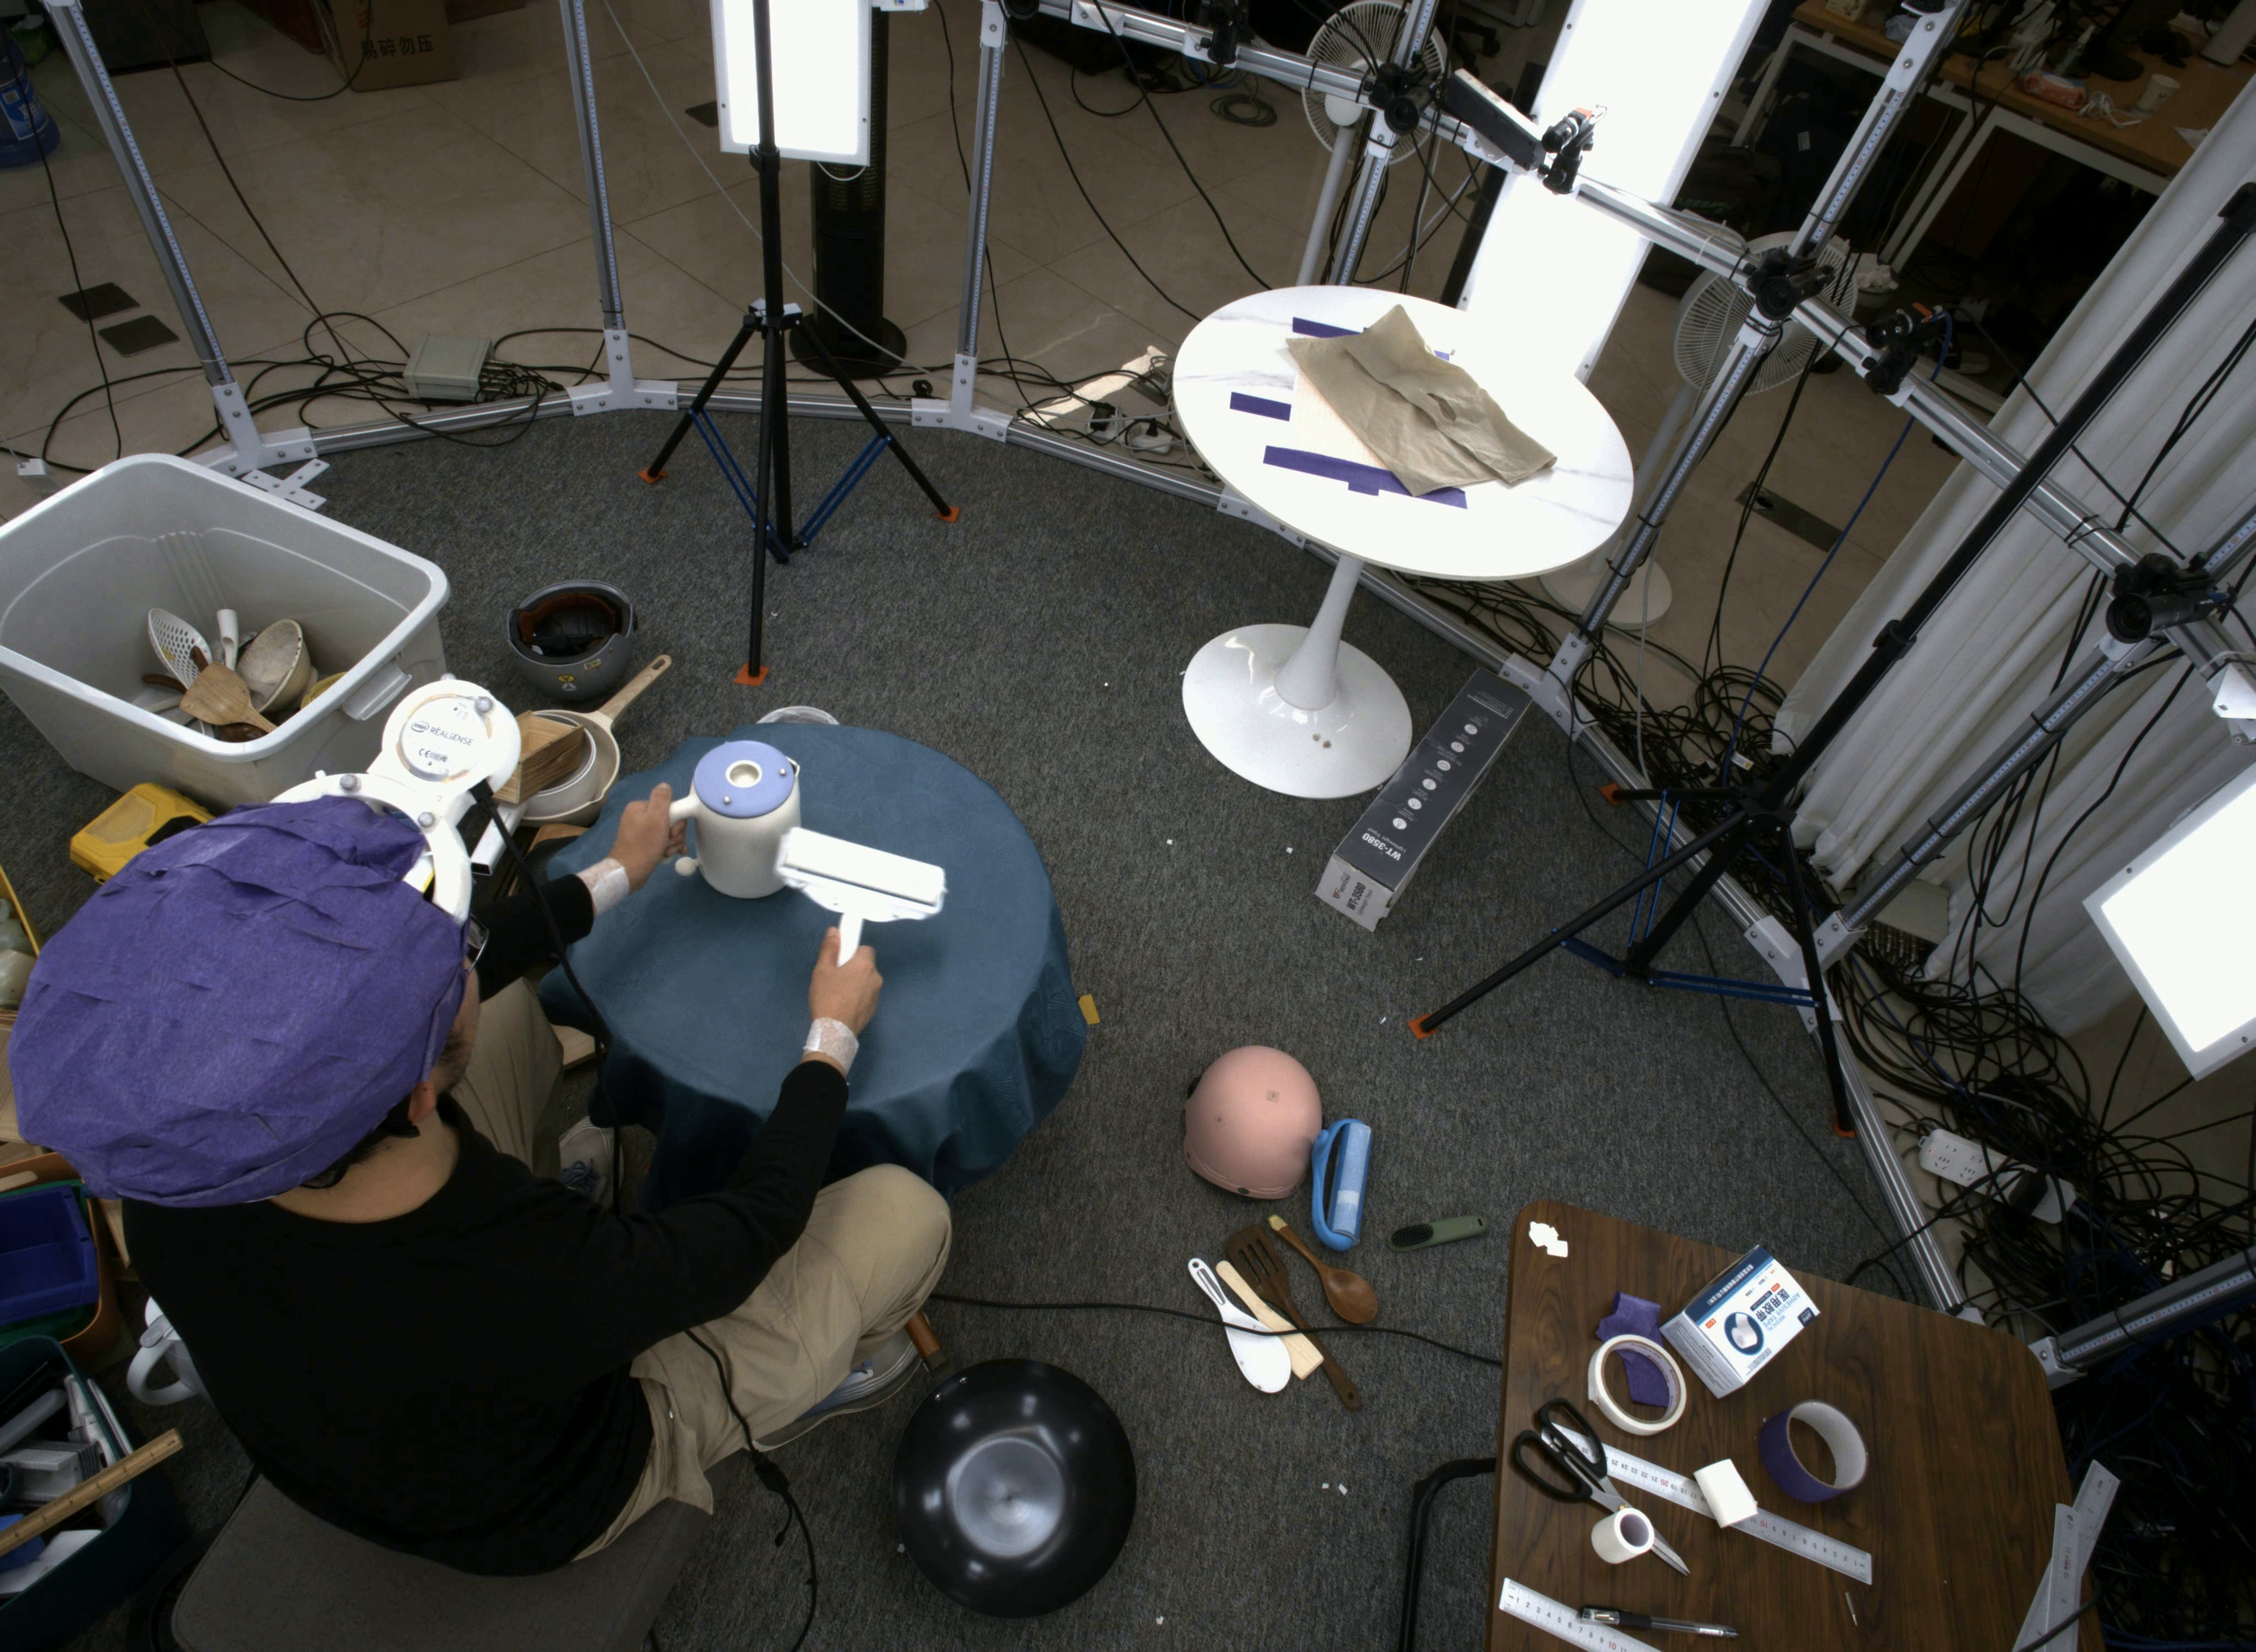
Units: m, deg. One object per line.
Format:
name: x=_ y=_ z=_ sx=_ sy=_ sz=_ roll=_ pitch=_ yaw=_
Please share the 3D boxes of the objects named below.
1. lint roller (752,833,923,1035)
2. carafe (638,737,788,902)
lint roller: x=-0.346 y=0.129 z=1.526 sx=0.206 sy=0.048 sz=0.223 roll=13 pitch=64 yaw=-27
carafe: x=-0.510 y=-0.001 z=1.585 sx=0.192 sy=0.187 sz=0.129 roll=-21 pitch=59 yaw=-24
